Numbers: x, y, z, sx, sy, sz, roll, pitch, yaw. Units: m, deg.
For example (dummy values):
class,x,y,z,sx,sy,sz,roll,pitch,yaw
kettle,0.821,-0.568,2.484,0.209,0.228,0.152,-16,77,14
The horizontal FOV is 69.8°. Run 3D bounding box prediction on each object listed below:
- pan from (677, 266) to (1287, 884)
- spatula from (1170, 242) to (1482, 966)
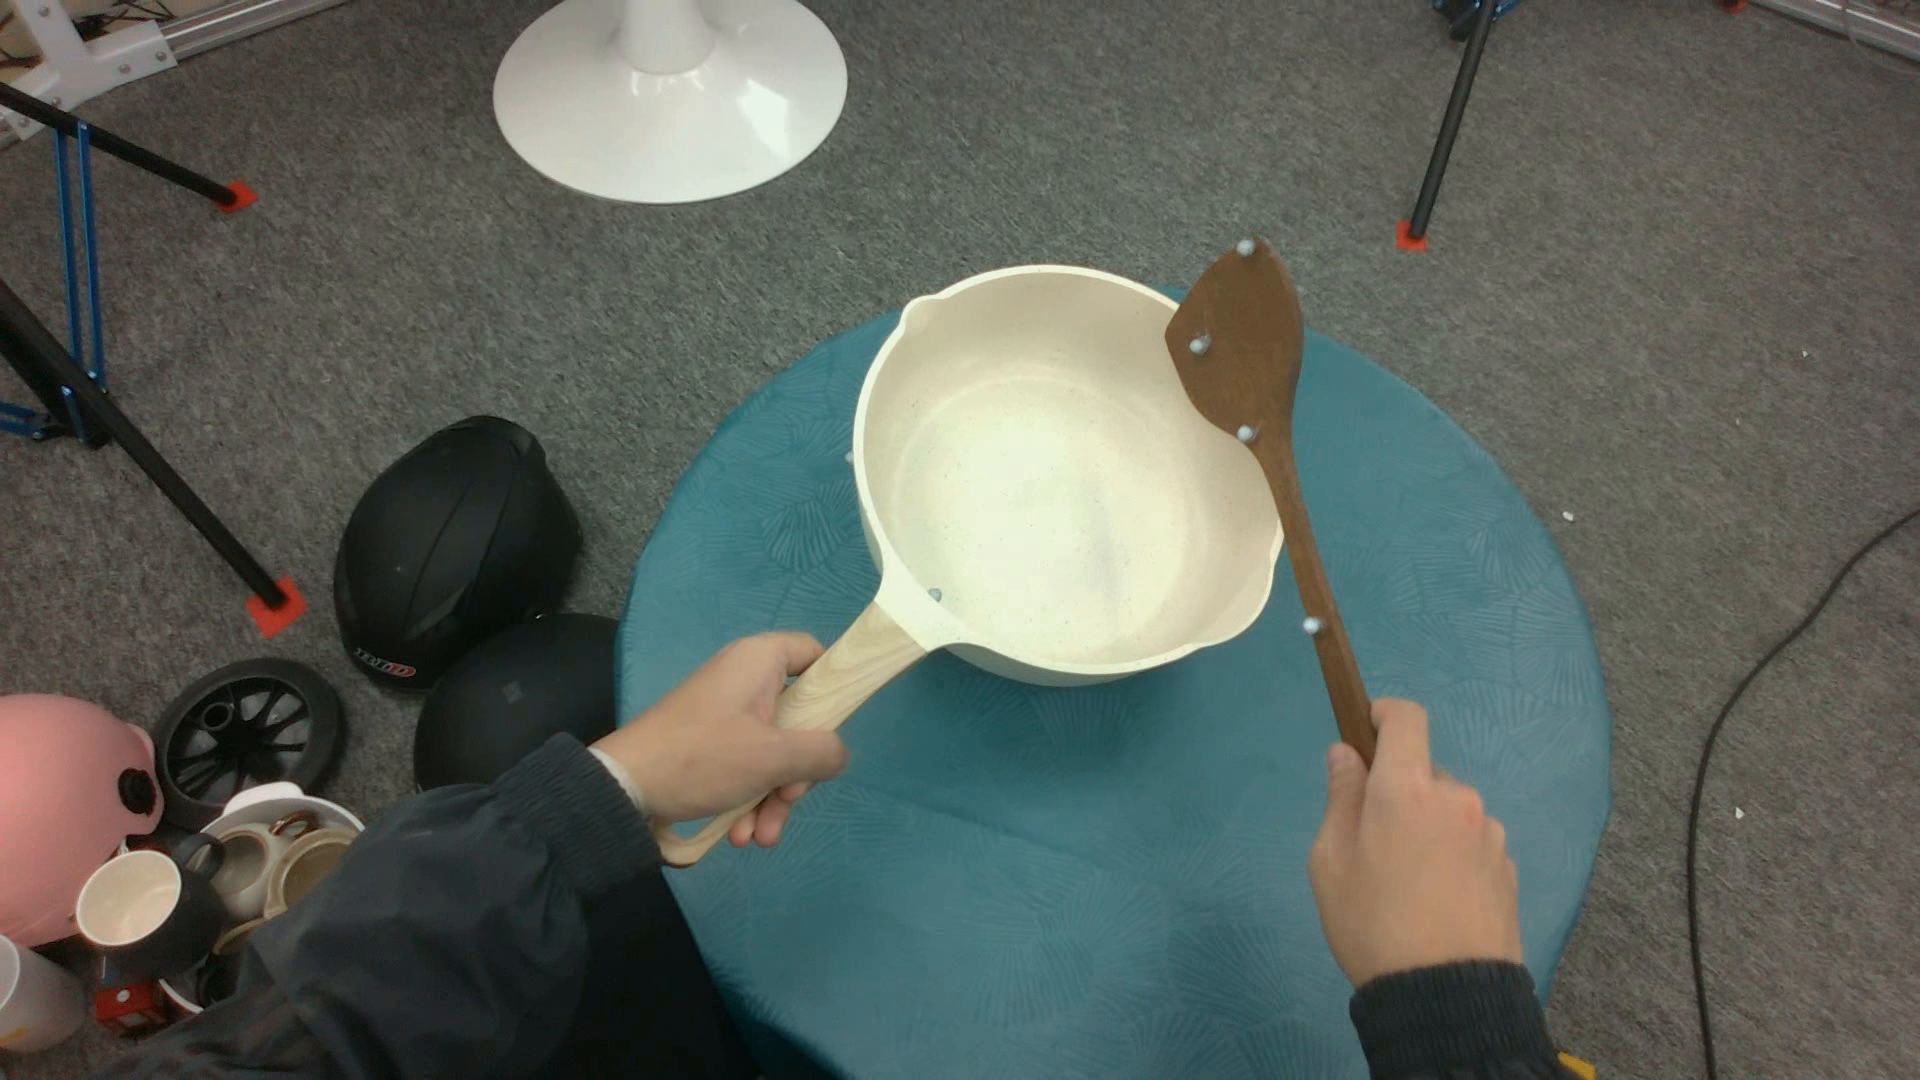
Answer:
class,x,y,z,sx,sy,sz,roll,pitch,yaw
pan,0.002,0.025,0.768,0.263,0.101,0.436,41,66,7
spatula,0.184,0.020,0.696,0.016,0.095,0.387,1,61,-28
